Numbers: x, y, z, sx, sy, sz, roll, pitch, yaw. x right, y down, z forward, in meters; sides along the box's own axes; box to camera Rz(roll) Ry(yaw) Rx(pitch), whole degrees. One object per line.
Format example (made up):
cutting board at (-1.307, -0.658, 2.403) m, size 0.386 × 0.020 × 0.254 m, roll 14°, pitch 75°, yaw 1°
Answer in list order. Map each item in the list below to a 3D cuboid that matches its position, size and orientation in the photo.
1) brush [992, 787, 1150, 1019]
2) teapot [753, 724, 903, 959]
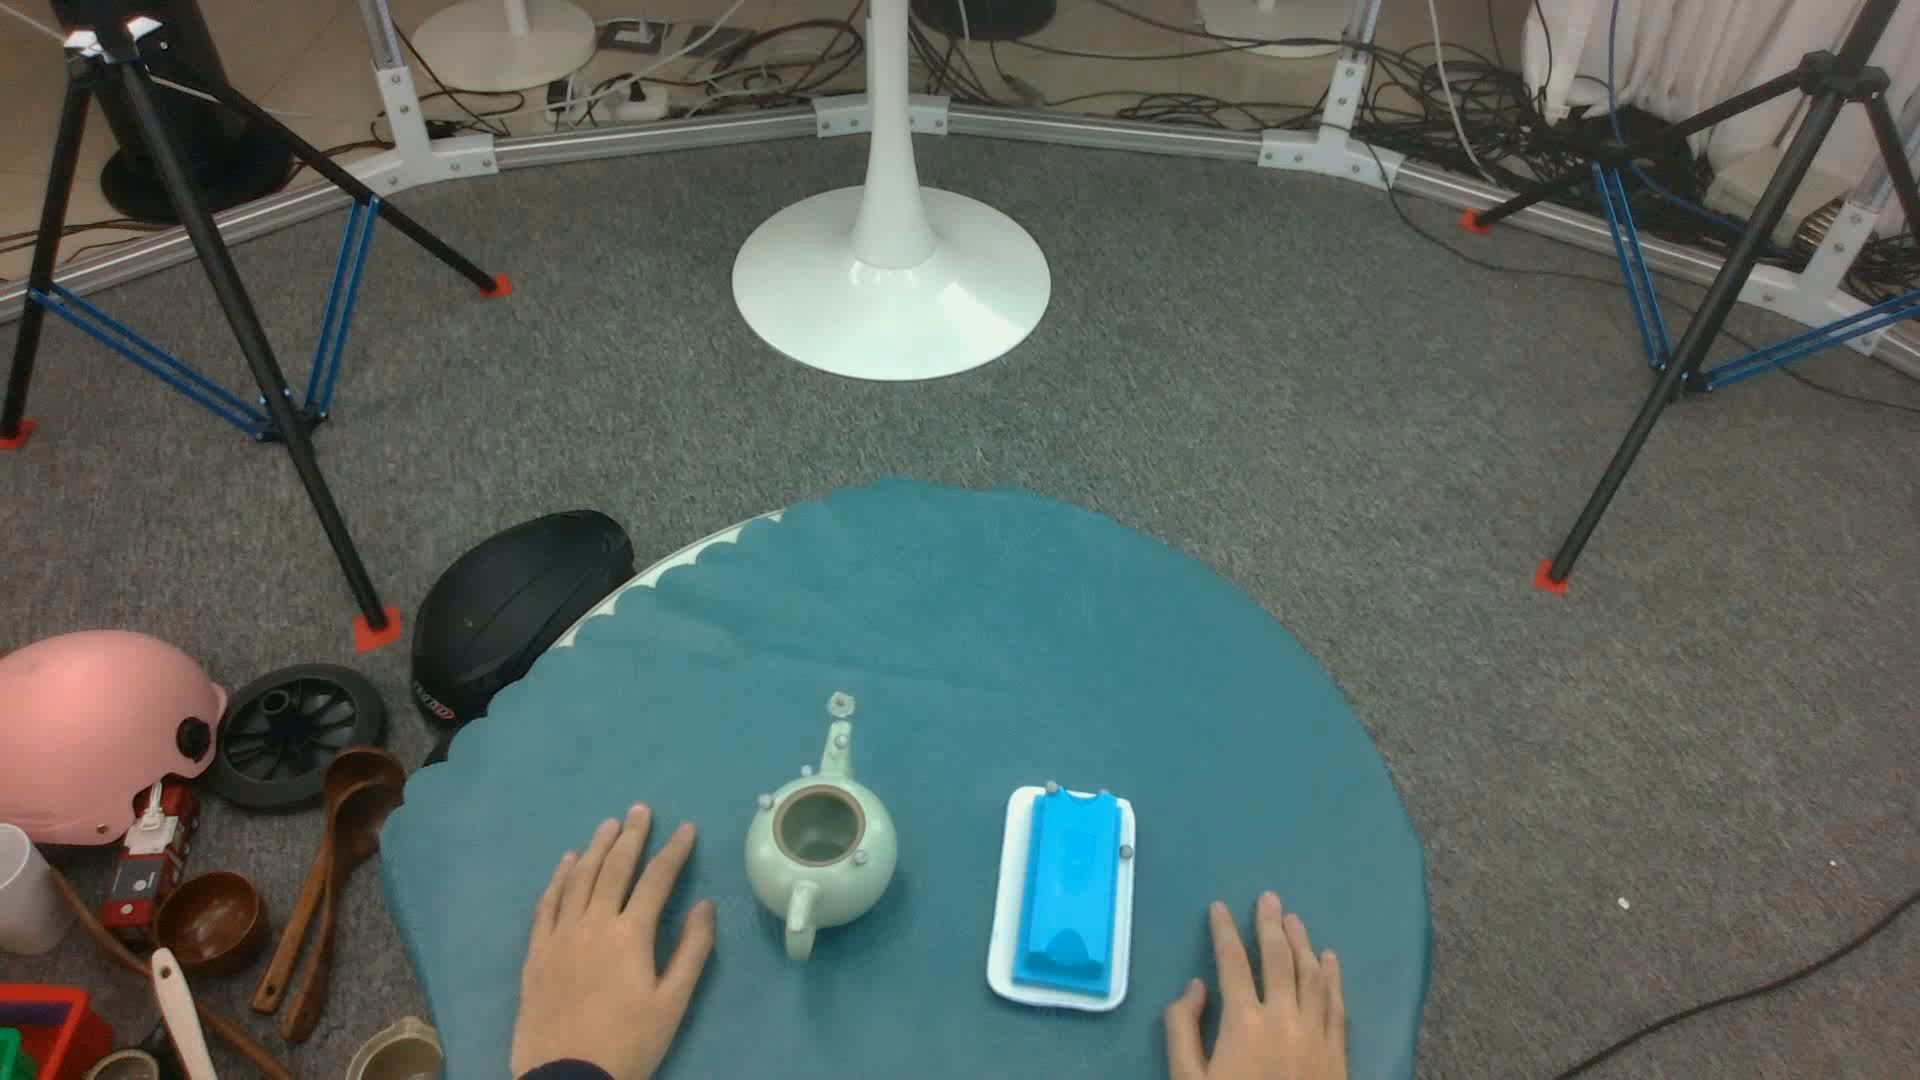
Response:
brush at (0.068, 0.204, 0.809) m, size 0.084 × 0.055 × 0.144 m, roll 7°, pitch 45°, yaw 8°
teapot at (-0.078, 0.184, 0.812) m, size 0.088 × 0.074 × 0.144 m, roll 9°, pitch 45°, yaw 5°
